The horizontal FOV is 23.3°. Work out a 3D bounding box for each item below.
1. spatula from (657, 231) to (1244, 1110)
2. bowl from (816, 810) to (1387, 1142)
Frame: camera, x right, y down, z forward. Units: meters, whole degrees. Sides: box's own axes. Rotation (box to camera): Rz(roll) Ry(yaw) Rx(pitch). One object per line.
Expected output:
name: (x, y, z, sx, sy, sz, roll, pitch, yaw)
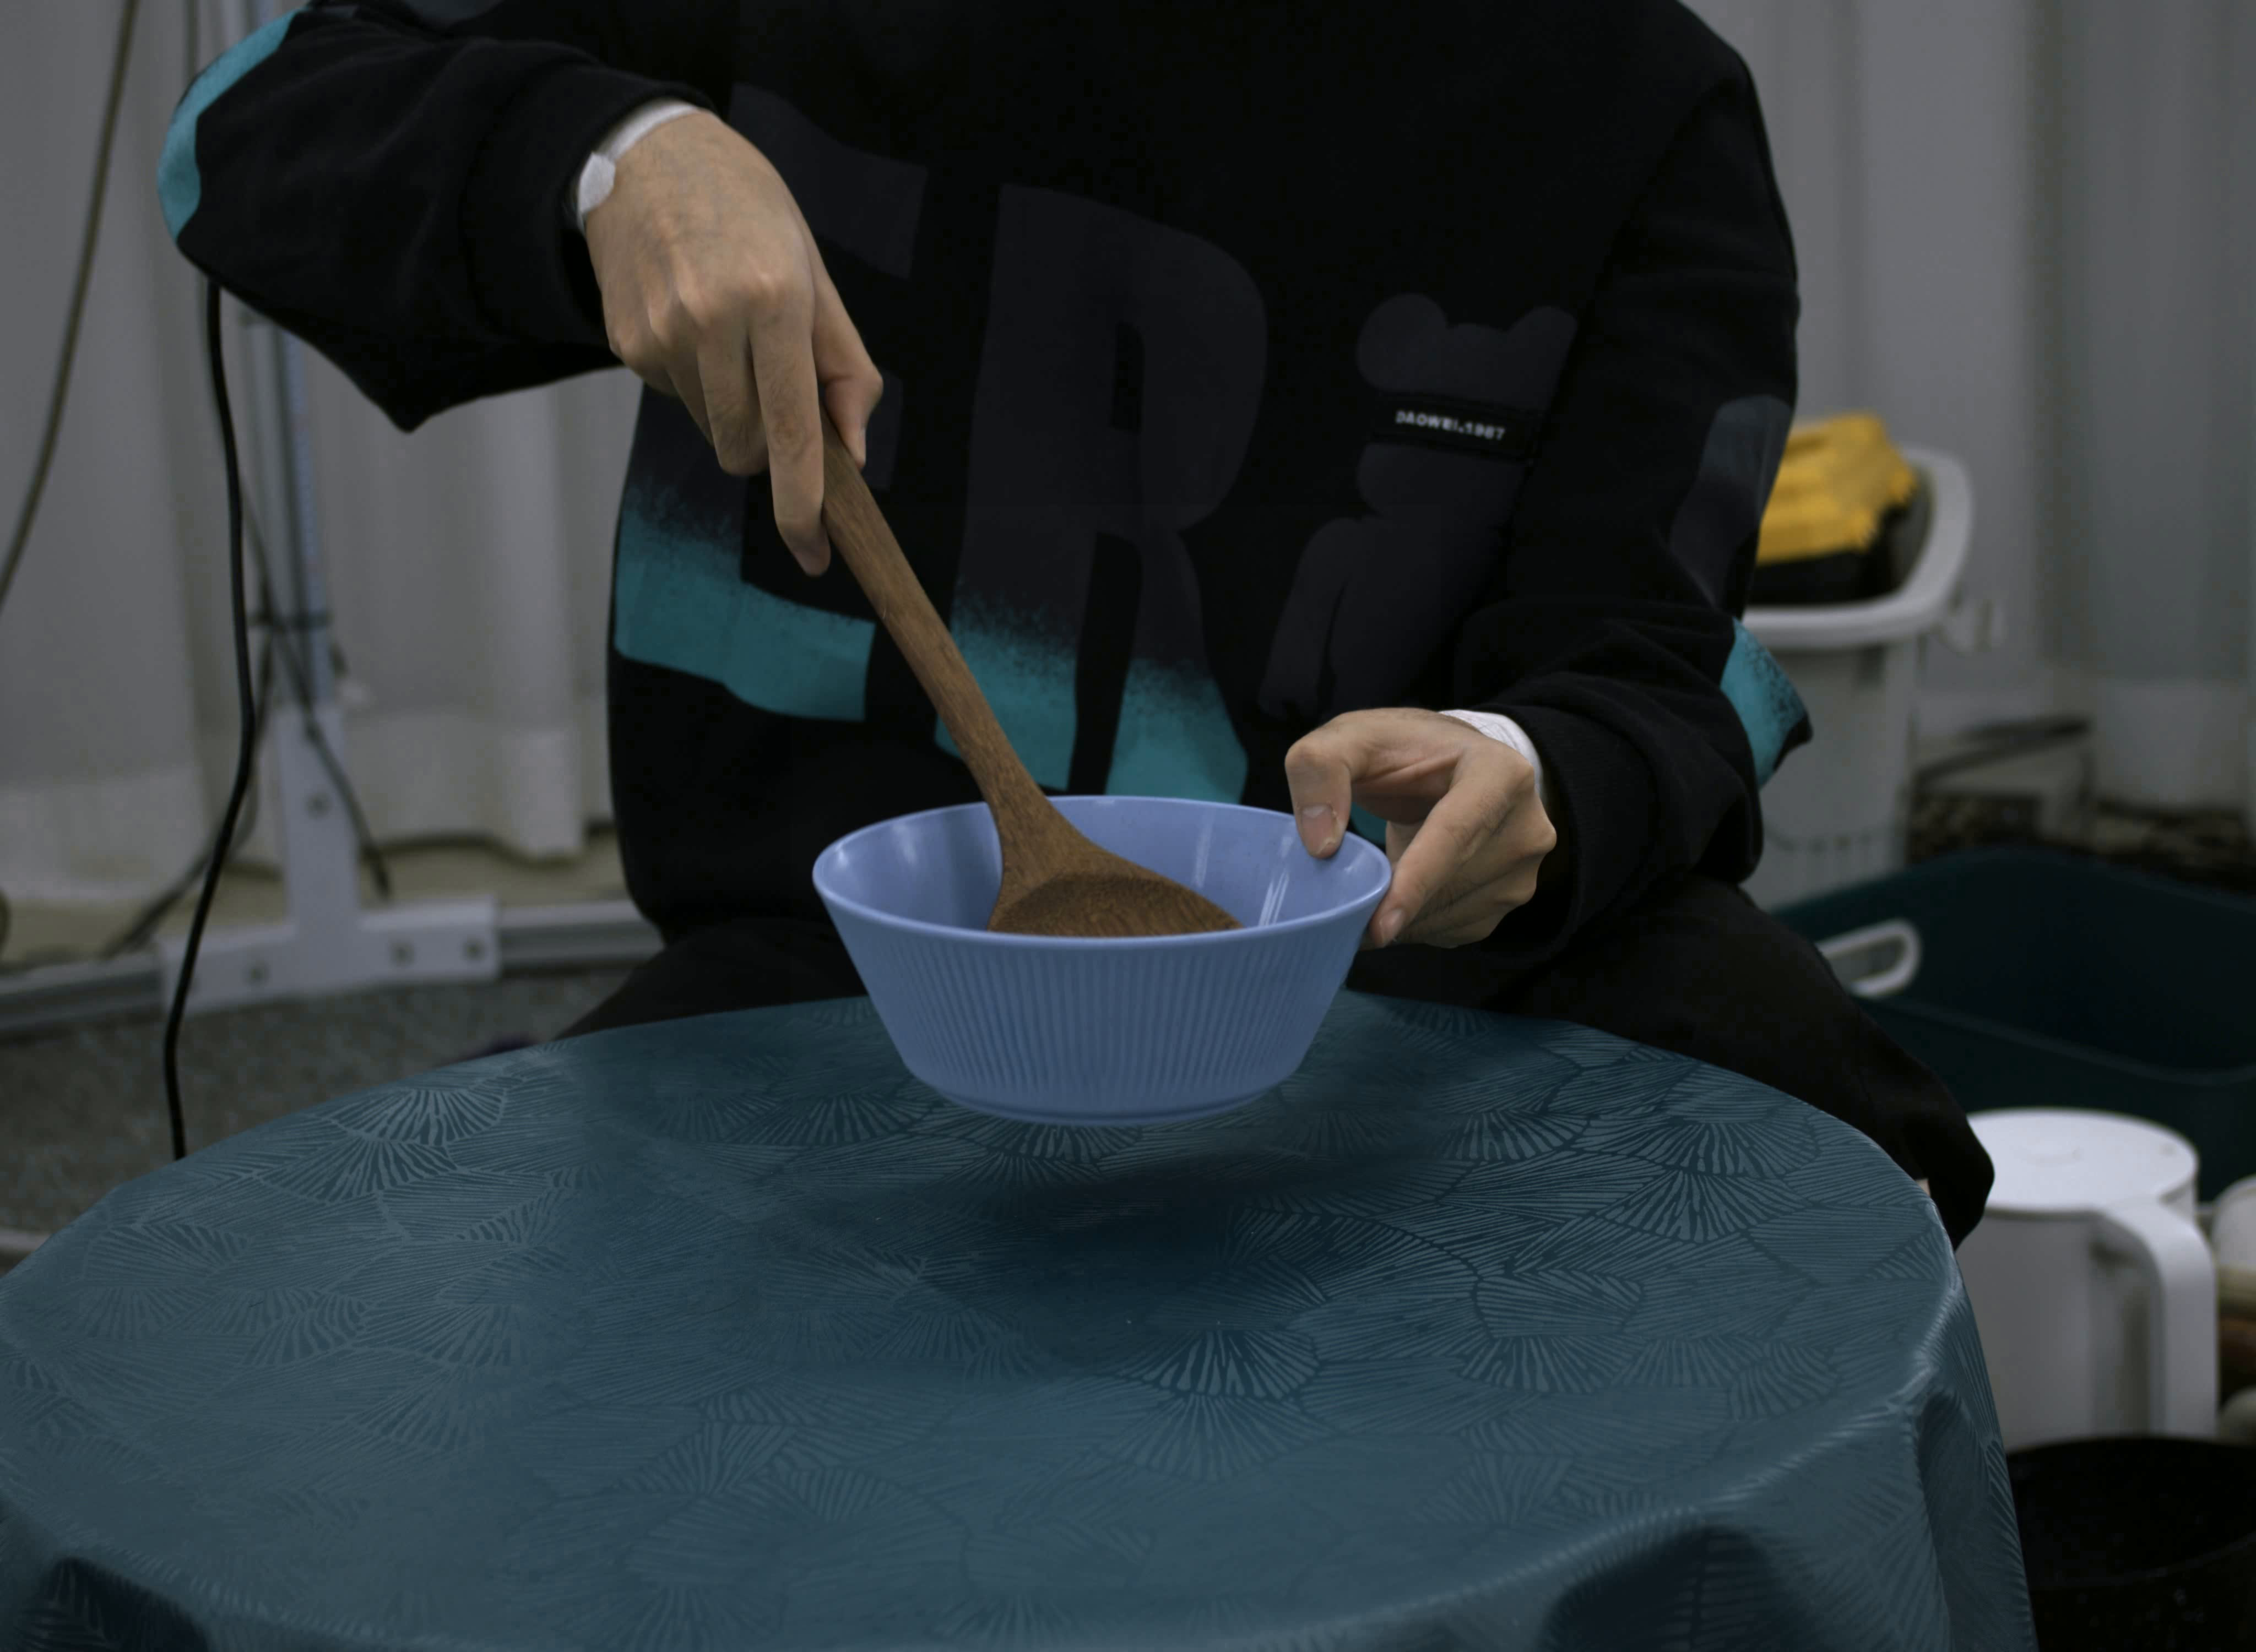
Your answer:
spatula: (-0.064, -0.059, 1.741, 0.096, 0.015, 0.391, -14, 55, -26)
bowl: (-0.006, 0.048, 1.669, 0.175, 0.070, 0.177, -4, 14, 1)
